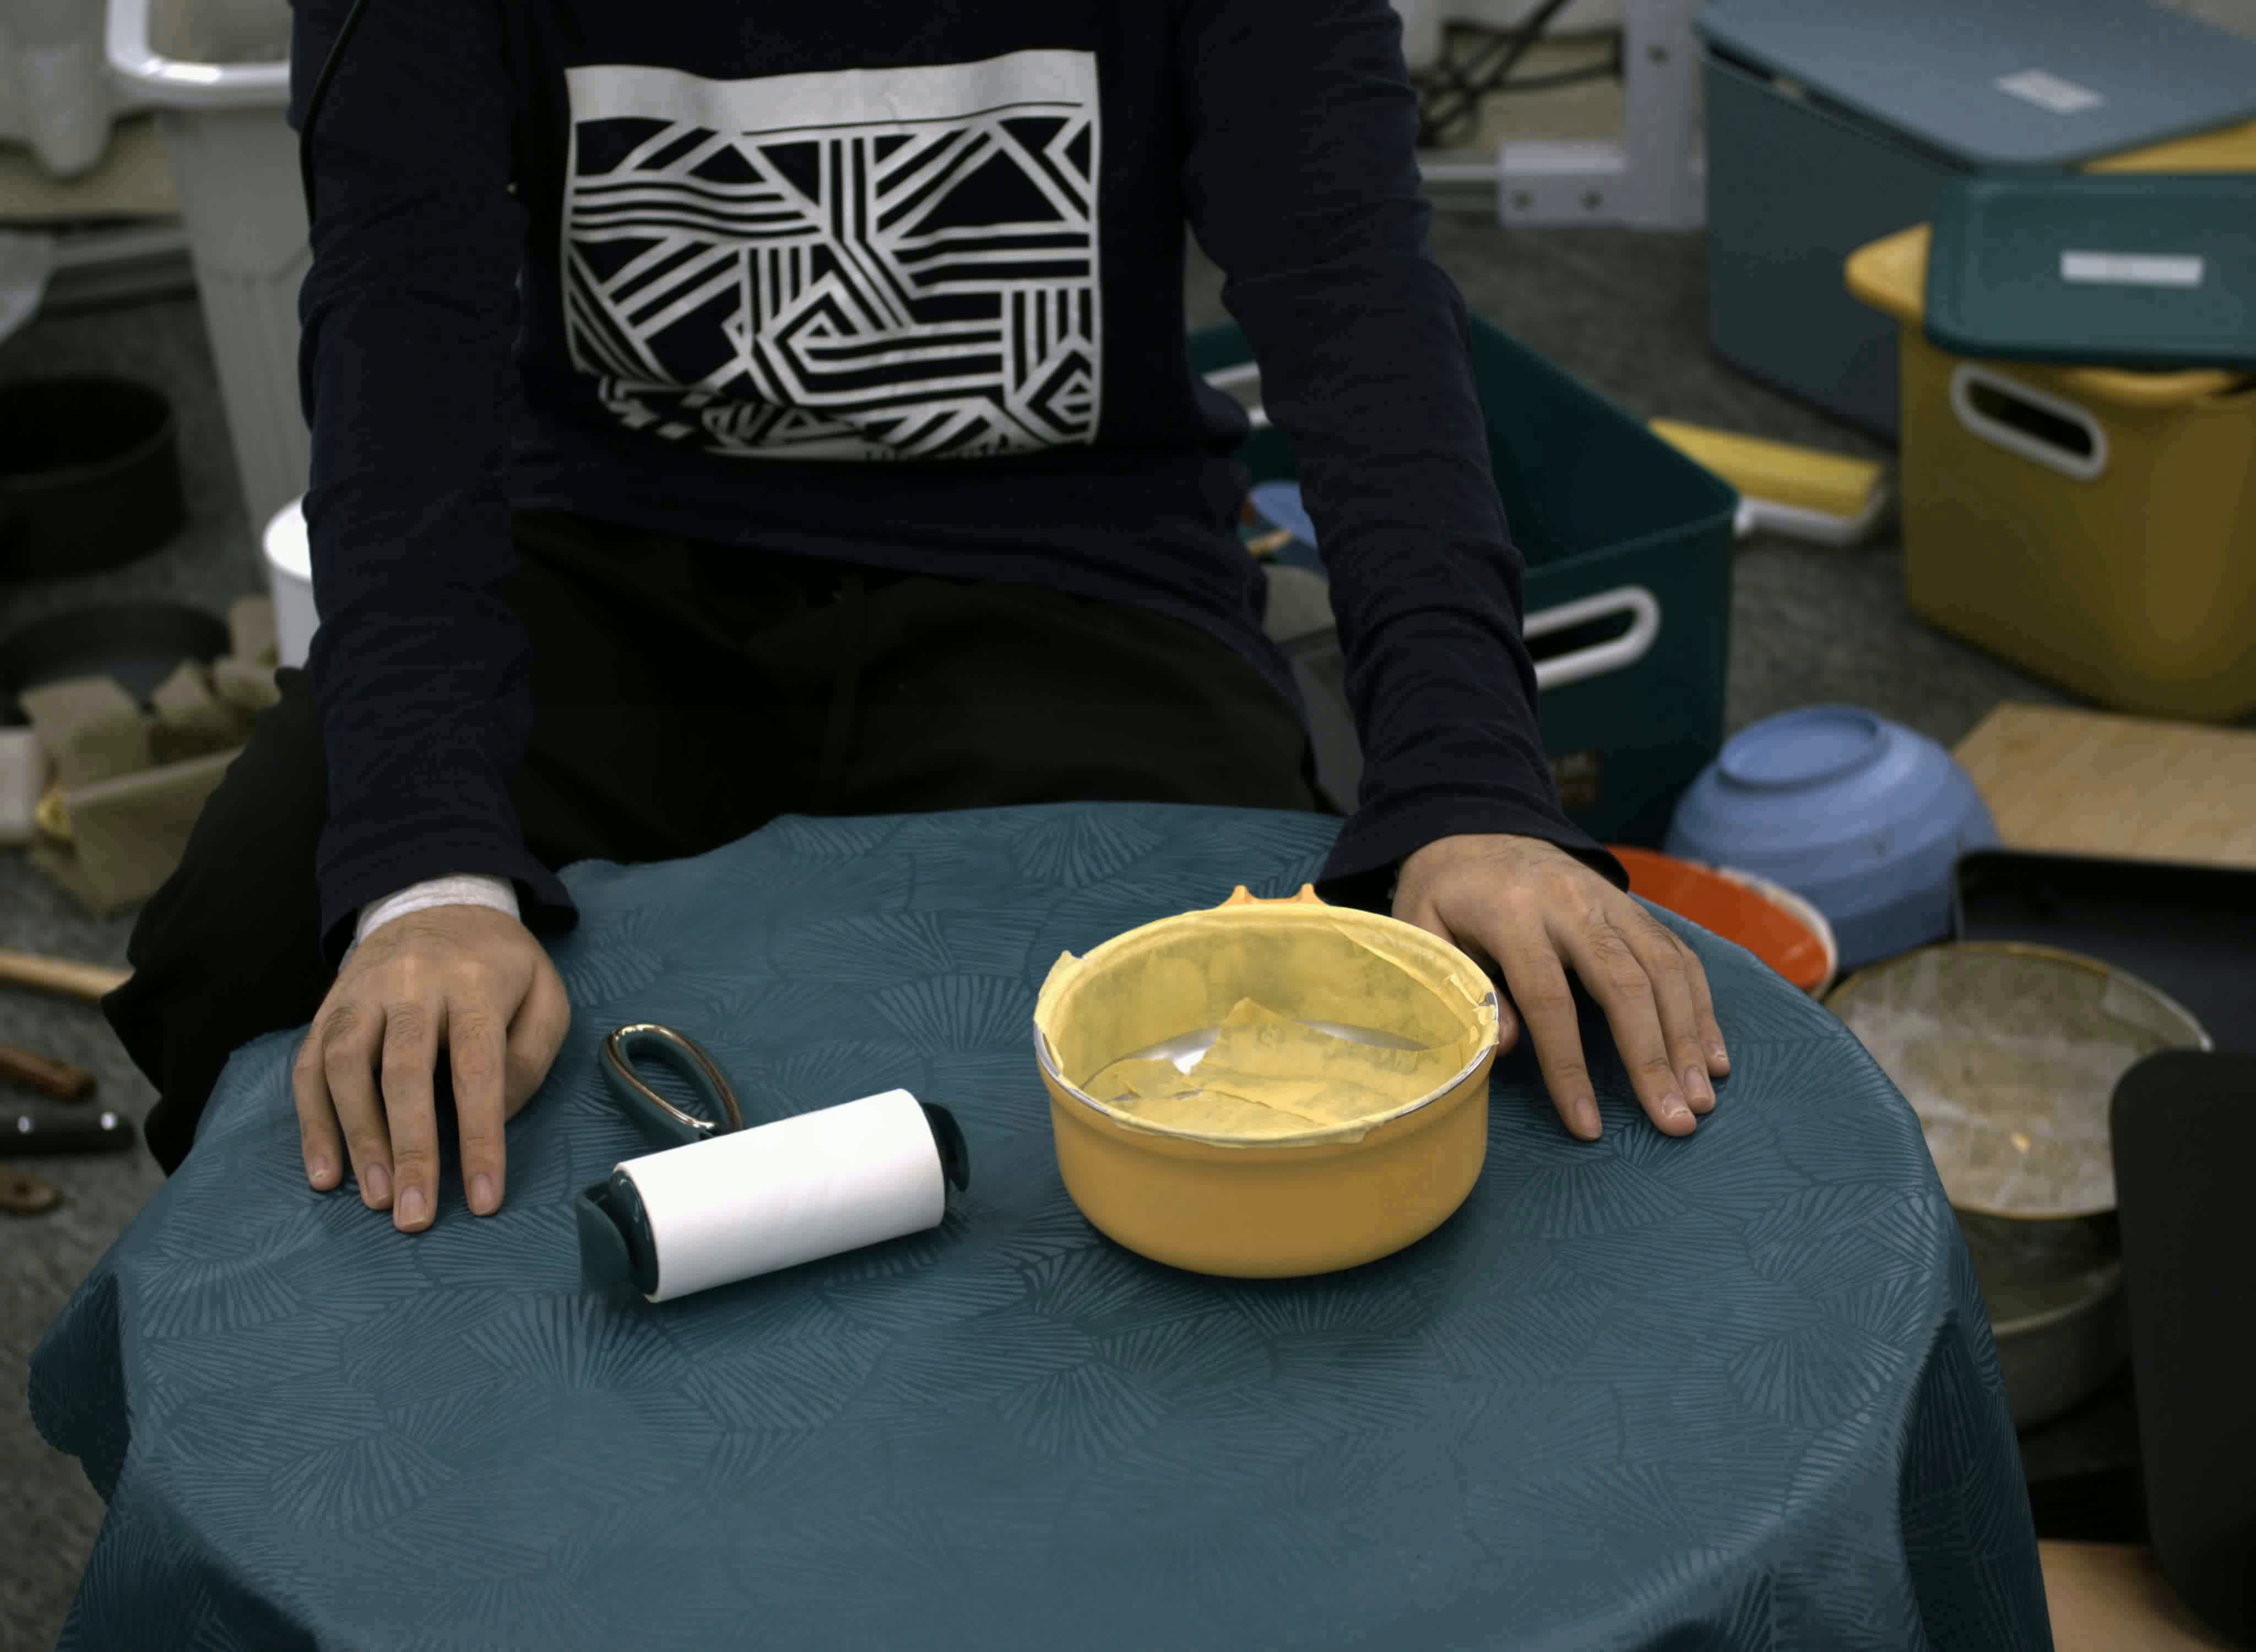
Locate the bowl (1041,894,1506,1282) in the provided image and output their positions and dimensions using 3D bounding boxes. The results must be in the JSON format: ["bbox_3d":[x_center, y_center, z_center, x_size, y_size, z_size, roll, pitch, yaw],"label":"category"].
[{"bbox_3d":[0.049,0.085,1.858,0.152,0.073,0.182,-5,27,-2],"label":"bowl"}]

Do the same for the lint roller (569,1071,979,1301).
[{"bbox_3d":[-0.141,0.098,1.881,0.135,0.048,0.181,-14,24,-20],"label":"lint roller"}]
